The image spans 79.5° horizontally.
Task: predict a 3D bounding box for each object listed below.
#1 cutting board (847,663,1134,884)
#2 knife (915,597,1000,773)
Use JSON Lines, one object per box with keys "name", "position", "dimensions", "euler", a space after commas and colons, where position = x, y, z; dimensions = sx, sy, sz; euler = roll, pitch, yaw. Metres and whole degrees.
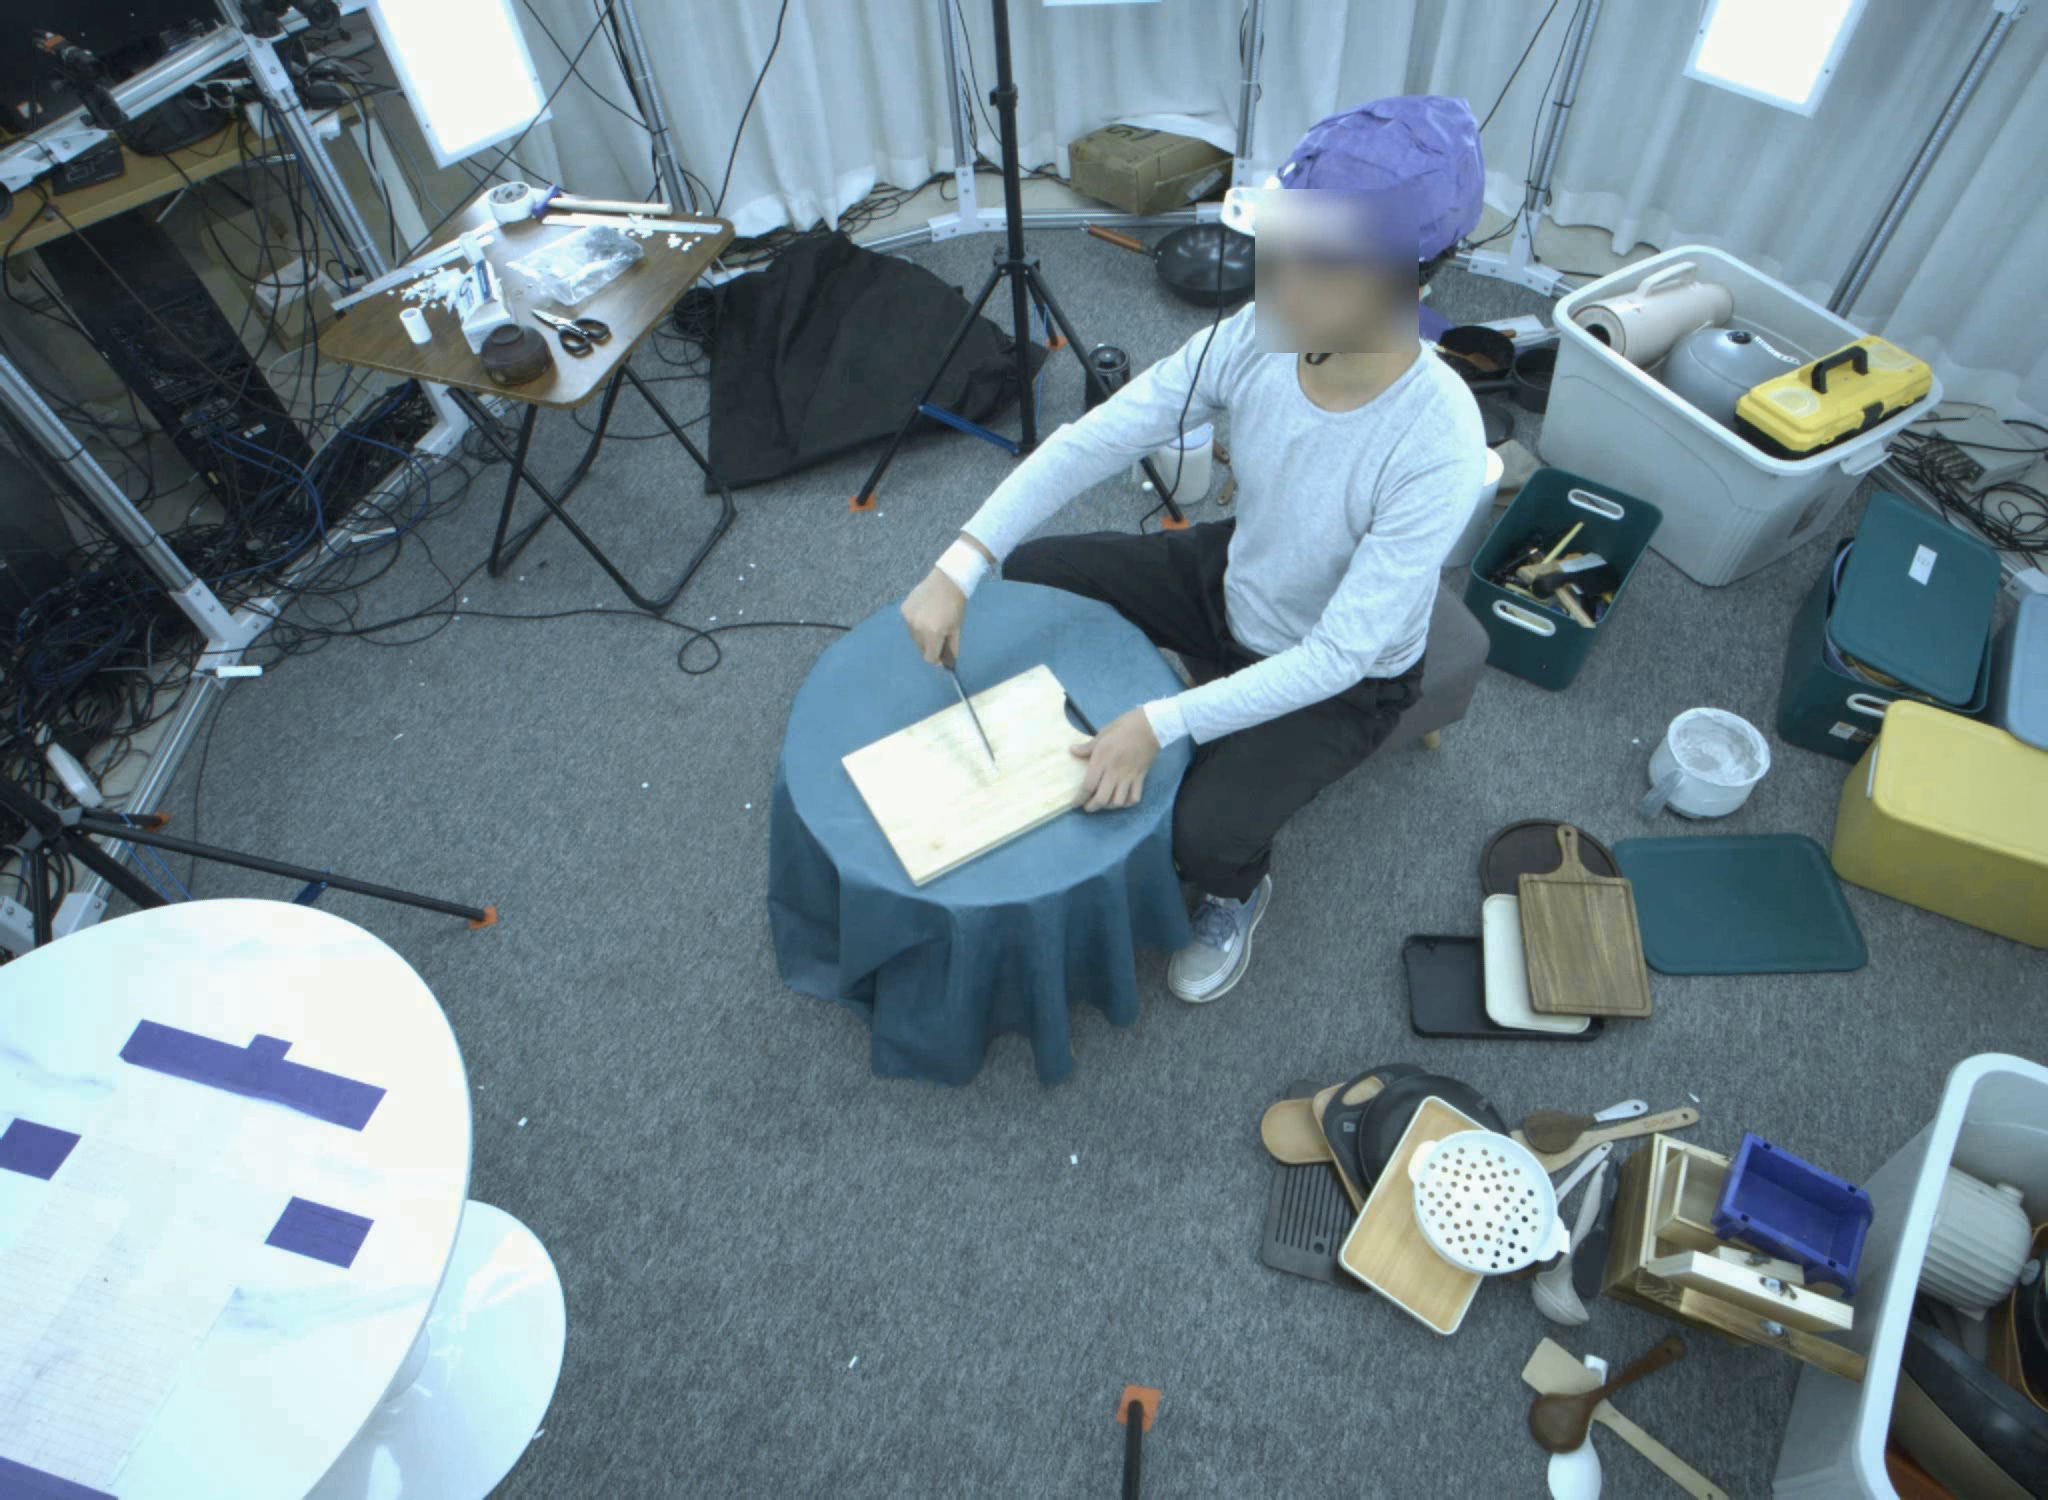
{"name": "cutting board", "position": [-0.053, 0.025, 1.769], "dimensions": [0.351, 0.024, 0.246], "euler": [-26, 58, -17]}
{"name": "knife", "position": [-0.093, -0.094, 1.752], "dimensions": [0.020, 0.050, 0.286], "euler": [-23, 76, -9]}
